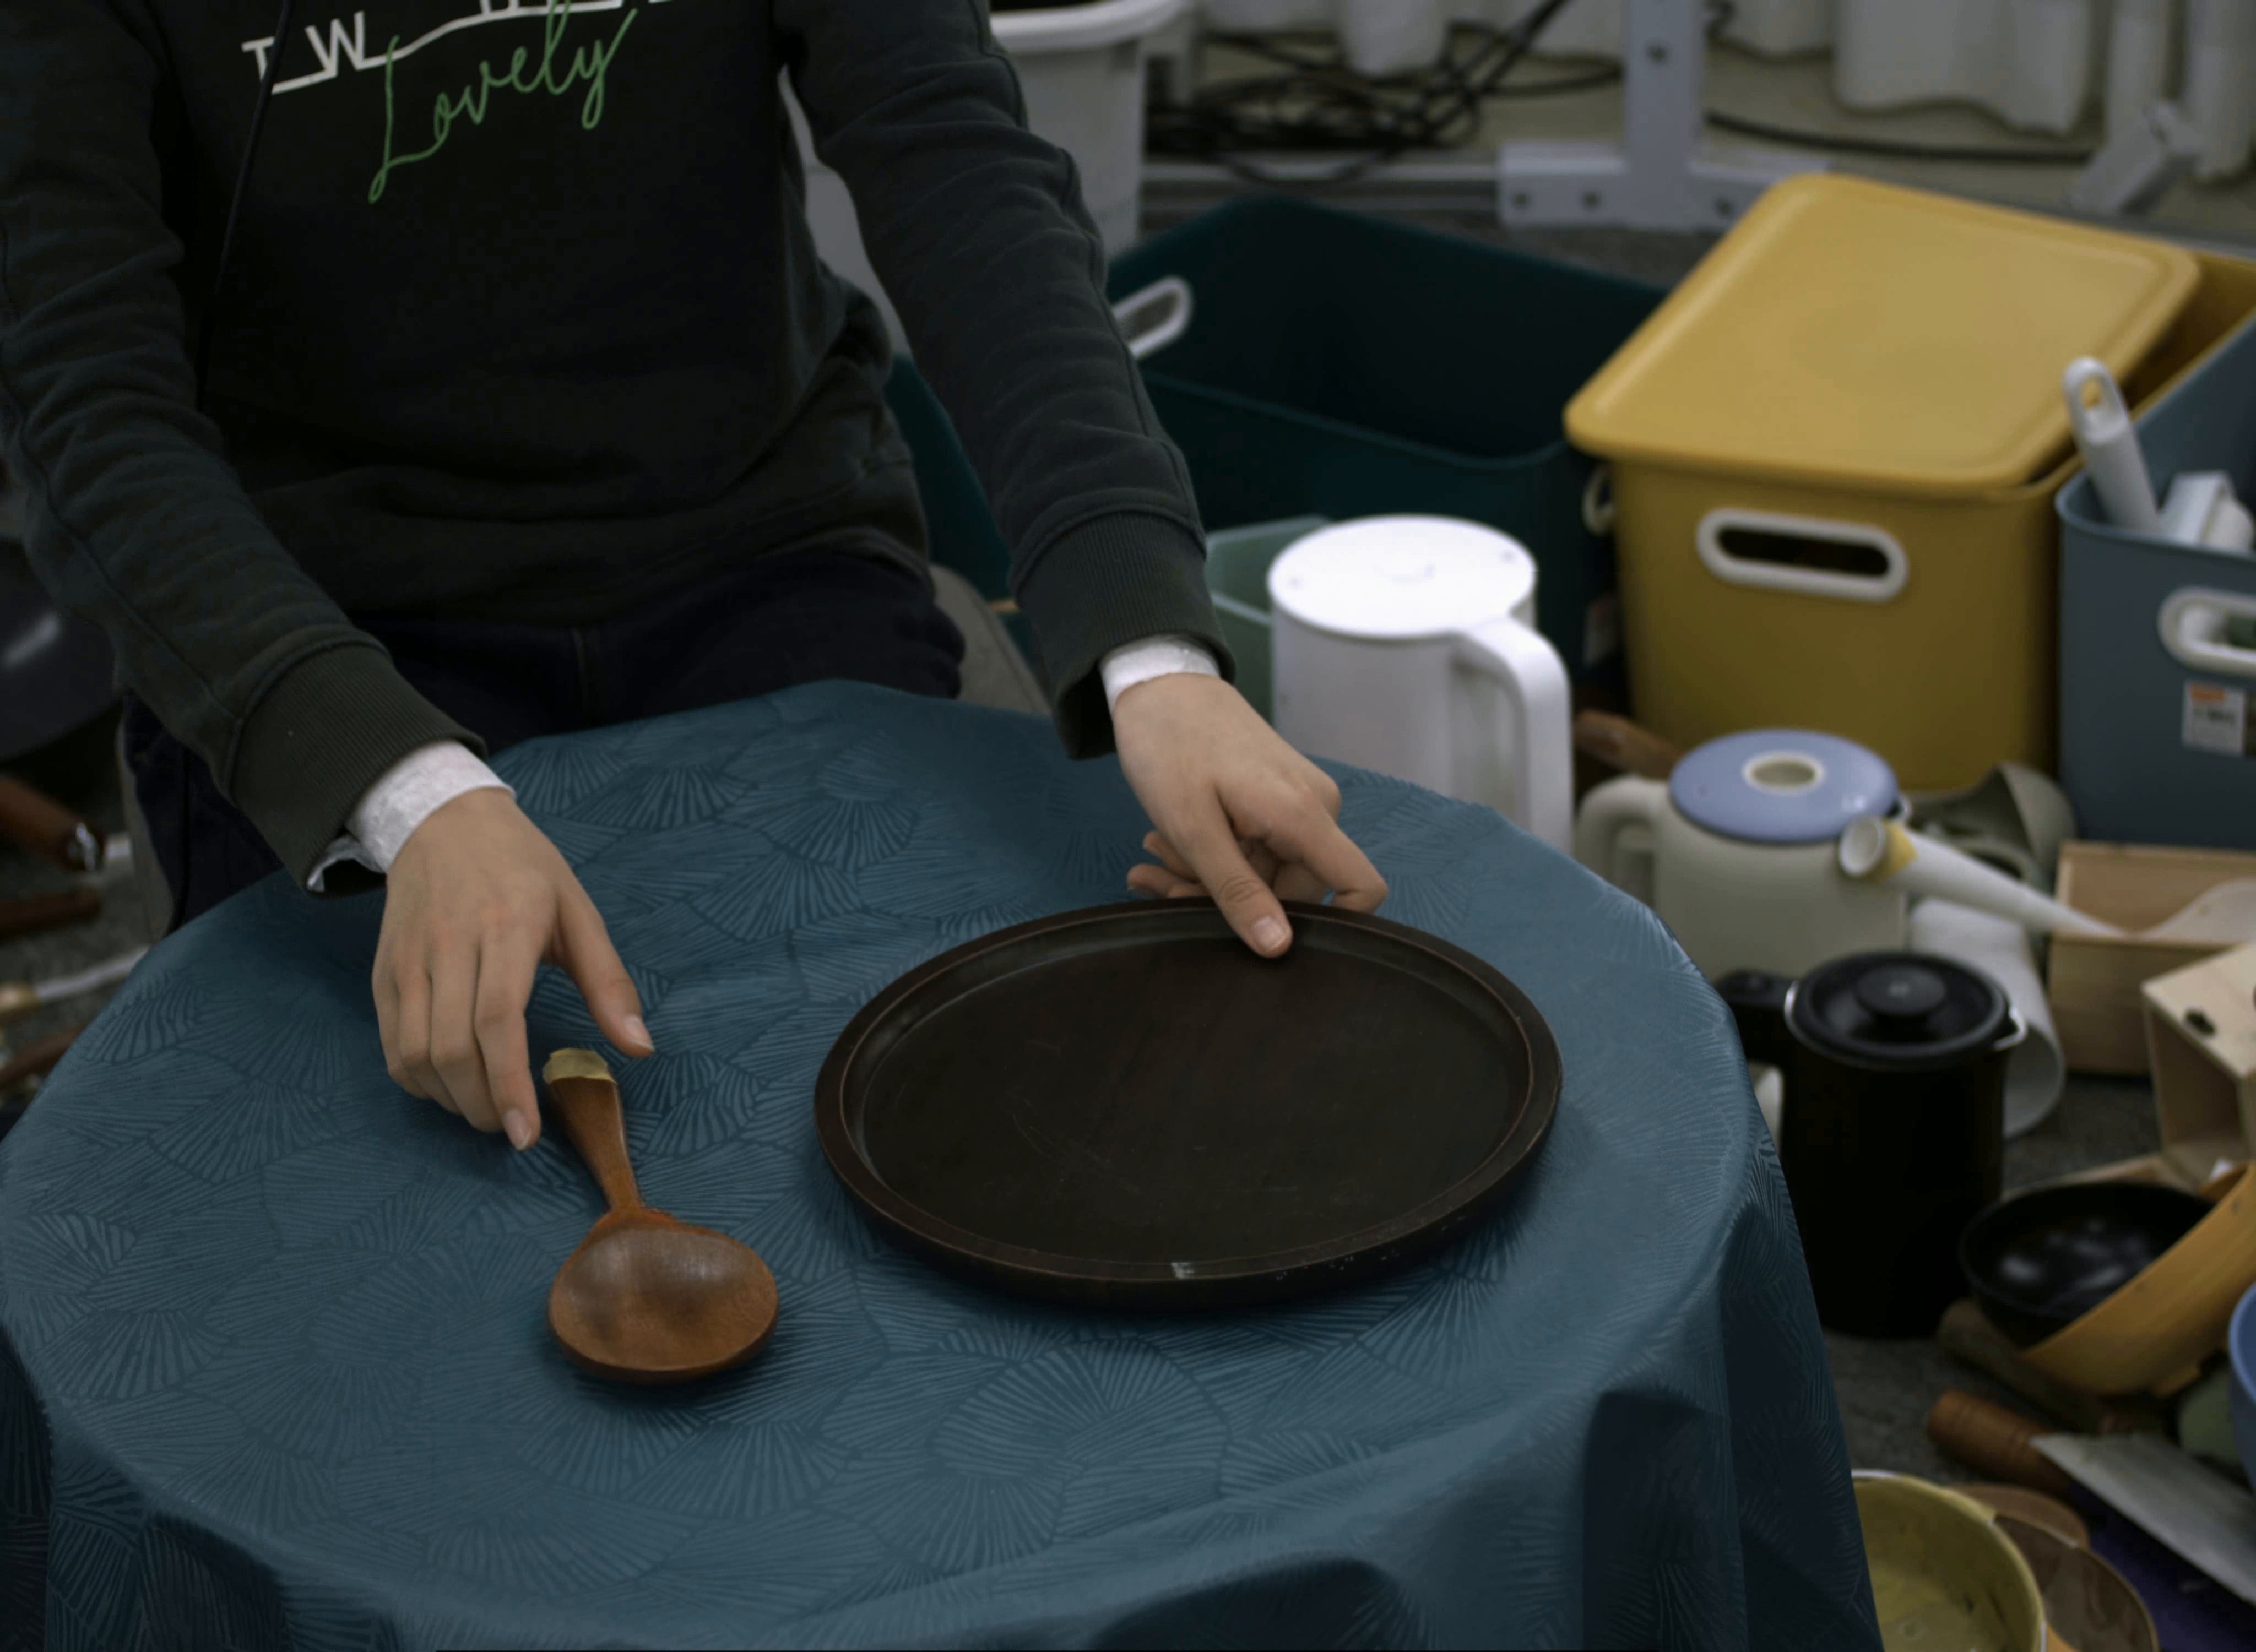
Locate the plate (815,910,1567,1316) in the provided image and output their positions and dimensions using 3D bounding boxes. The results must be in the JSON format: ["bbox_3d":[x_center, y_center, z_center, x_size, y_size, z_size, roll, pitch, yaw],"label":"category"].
[{"bbox_3d":[0.021,0.094,1.889,0.253,0.029,0.259,-1,28,1],"label":"plate"}]

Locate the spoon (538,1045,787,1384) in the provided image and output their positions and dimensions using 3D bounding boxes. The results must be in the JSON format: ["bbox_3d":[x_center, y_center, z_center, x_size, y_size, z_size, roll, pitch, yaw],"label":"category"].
[{"bbox_3d":[-0.163,0.128,1.846,0.075,0.017,0.218,-10,28,-12],"label":"spoon"}]
